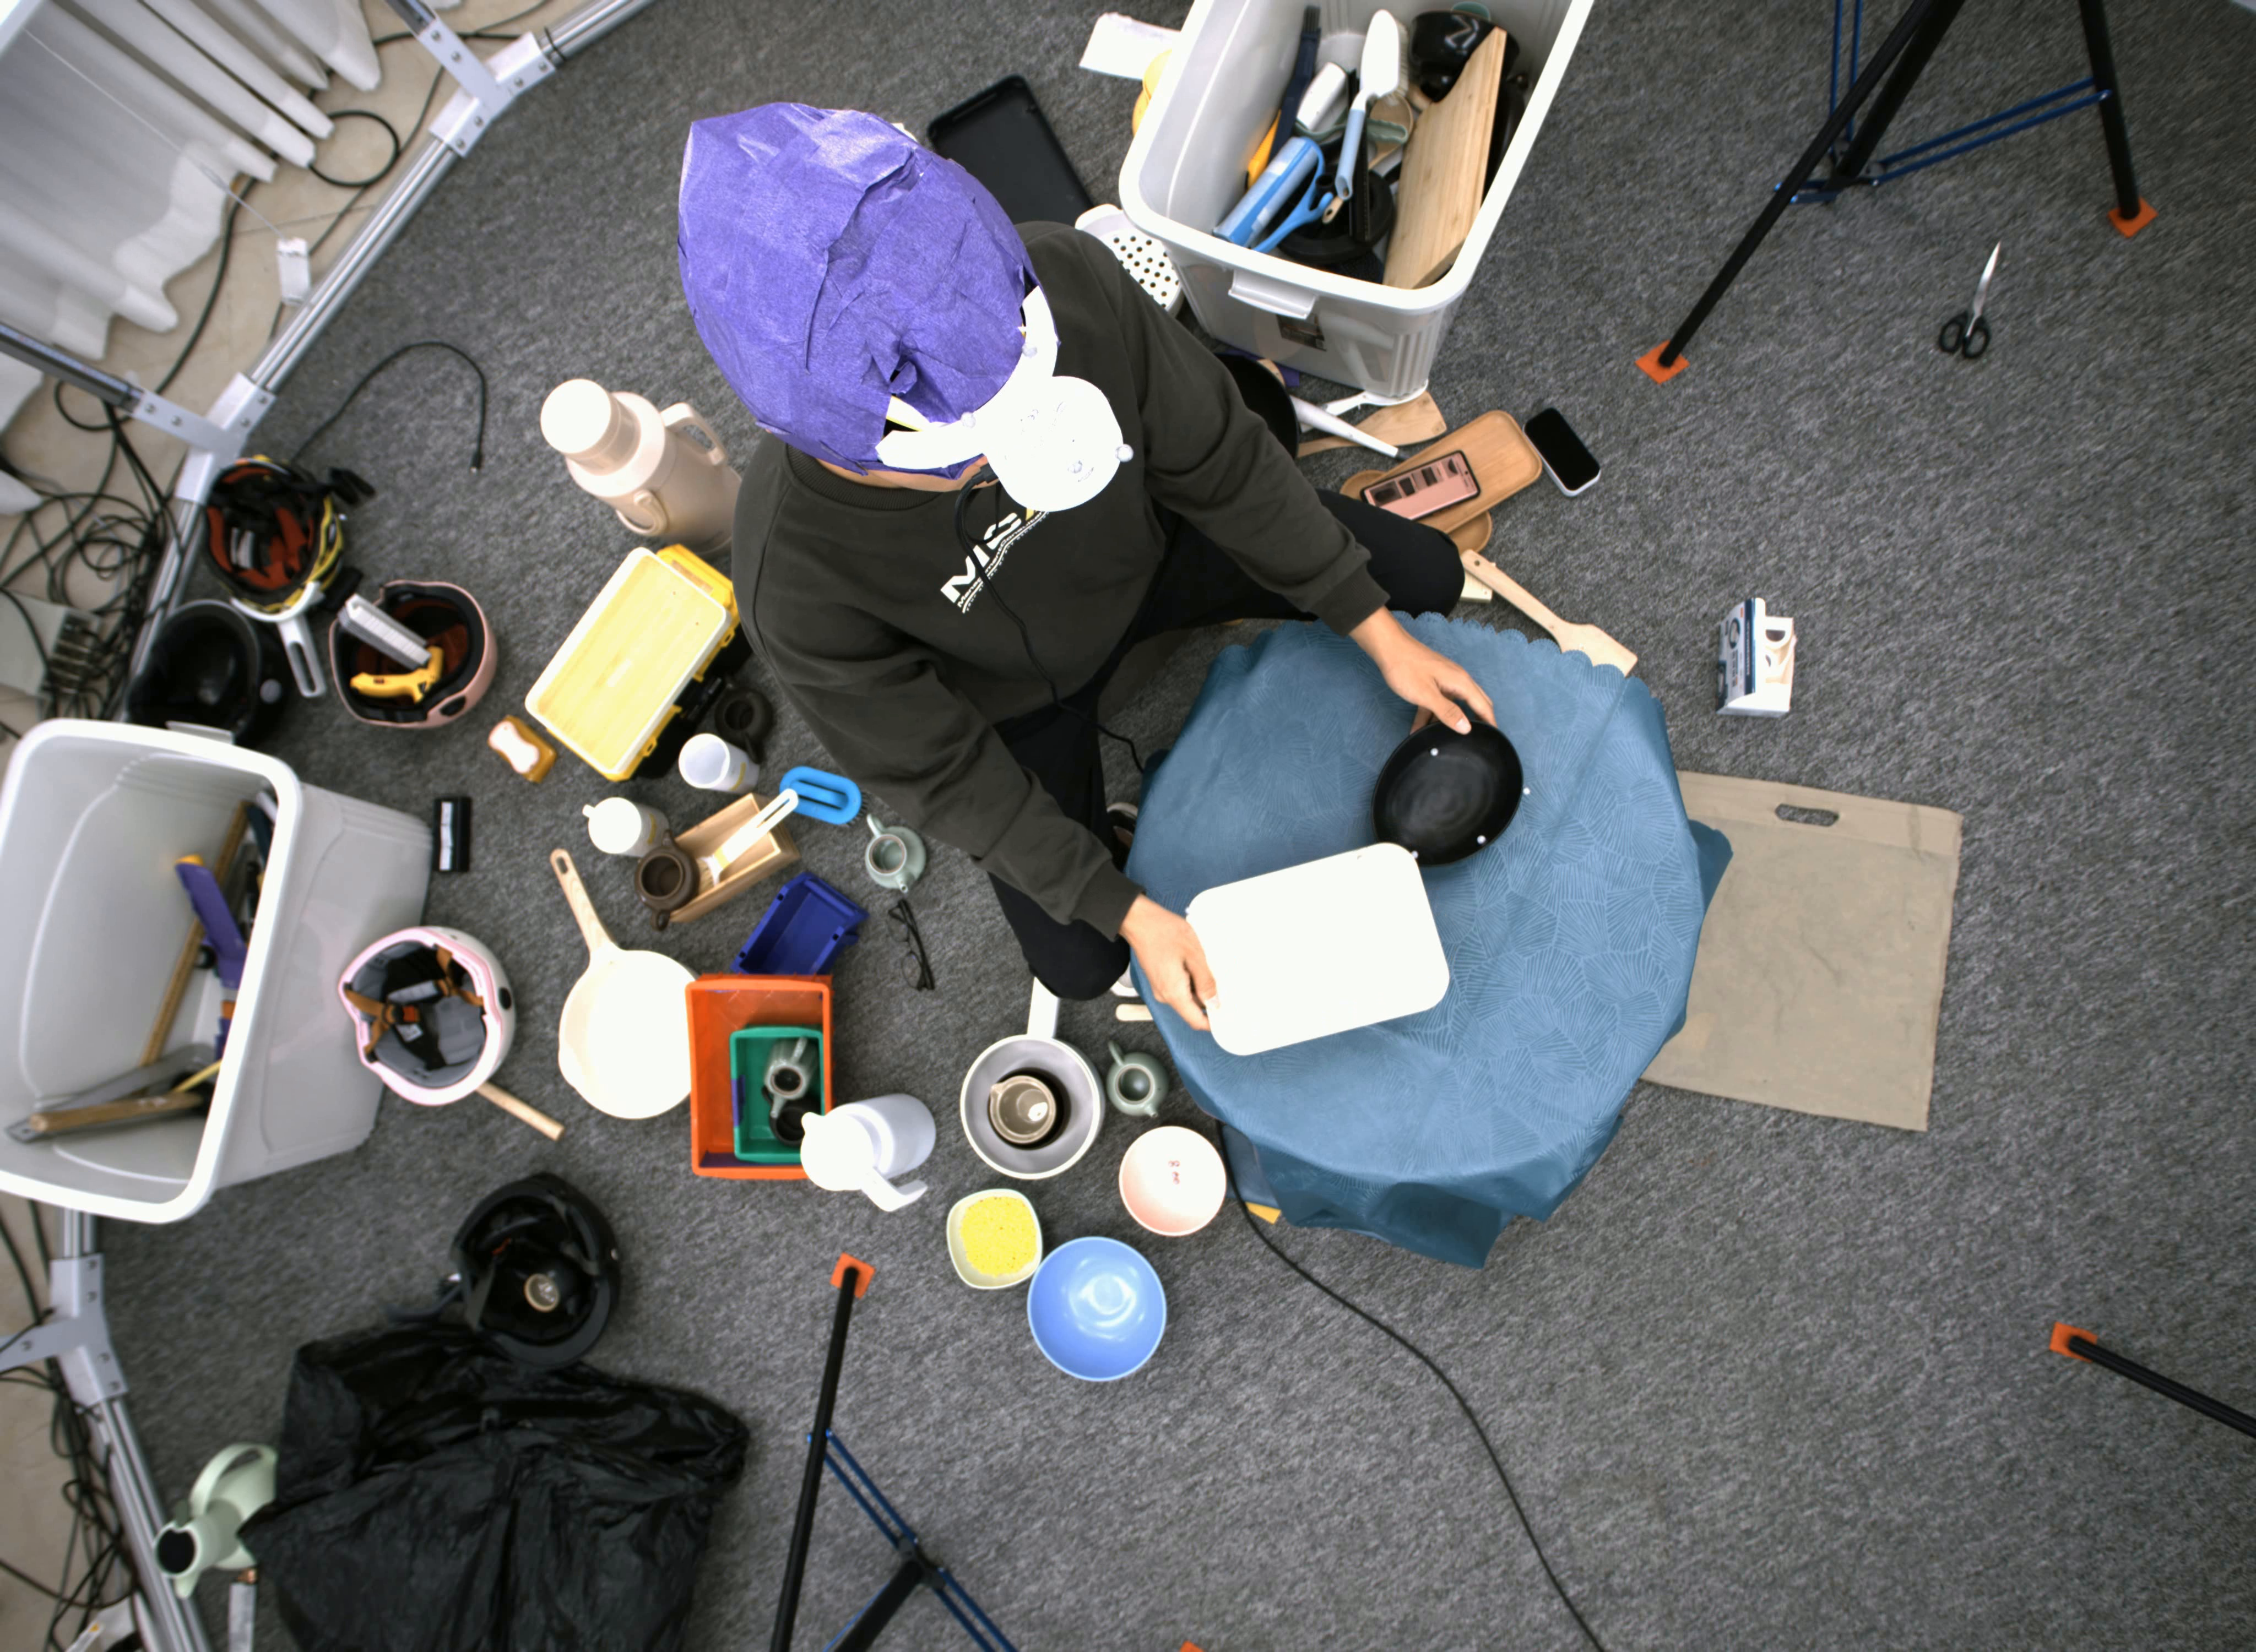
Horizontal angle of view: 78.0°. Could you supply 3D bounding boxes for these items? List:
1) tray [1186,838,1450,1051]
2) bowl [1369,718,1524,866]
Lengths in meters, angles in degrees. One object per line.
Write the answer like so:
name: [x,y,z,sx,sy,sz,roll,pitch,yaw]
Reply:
tray: [0.187,0.118,1.381,0.241,0.017,0.169,-16,79,7]
bowl: [0.329,-0.033,1.424,0.136,0.066,0.171,45,97,12]
